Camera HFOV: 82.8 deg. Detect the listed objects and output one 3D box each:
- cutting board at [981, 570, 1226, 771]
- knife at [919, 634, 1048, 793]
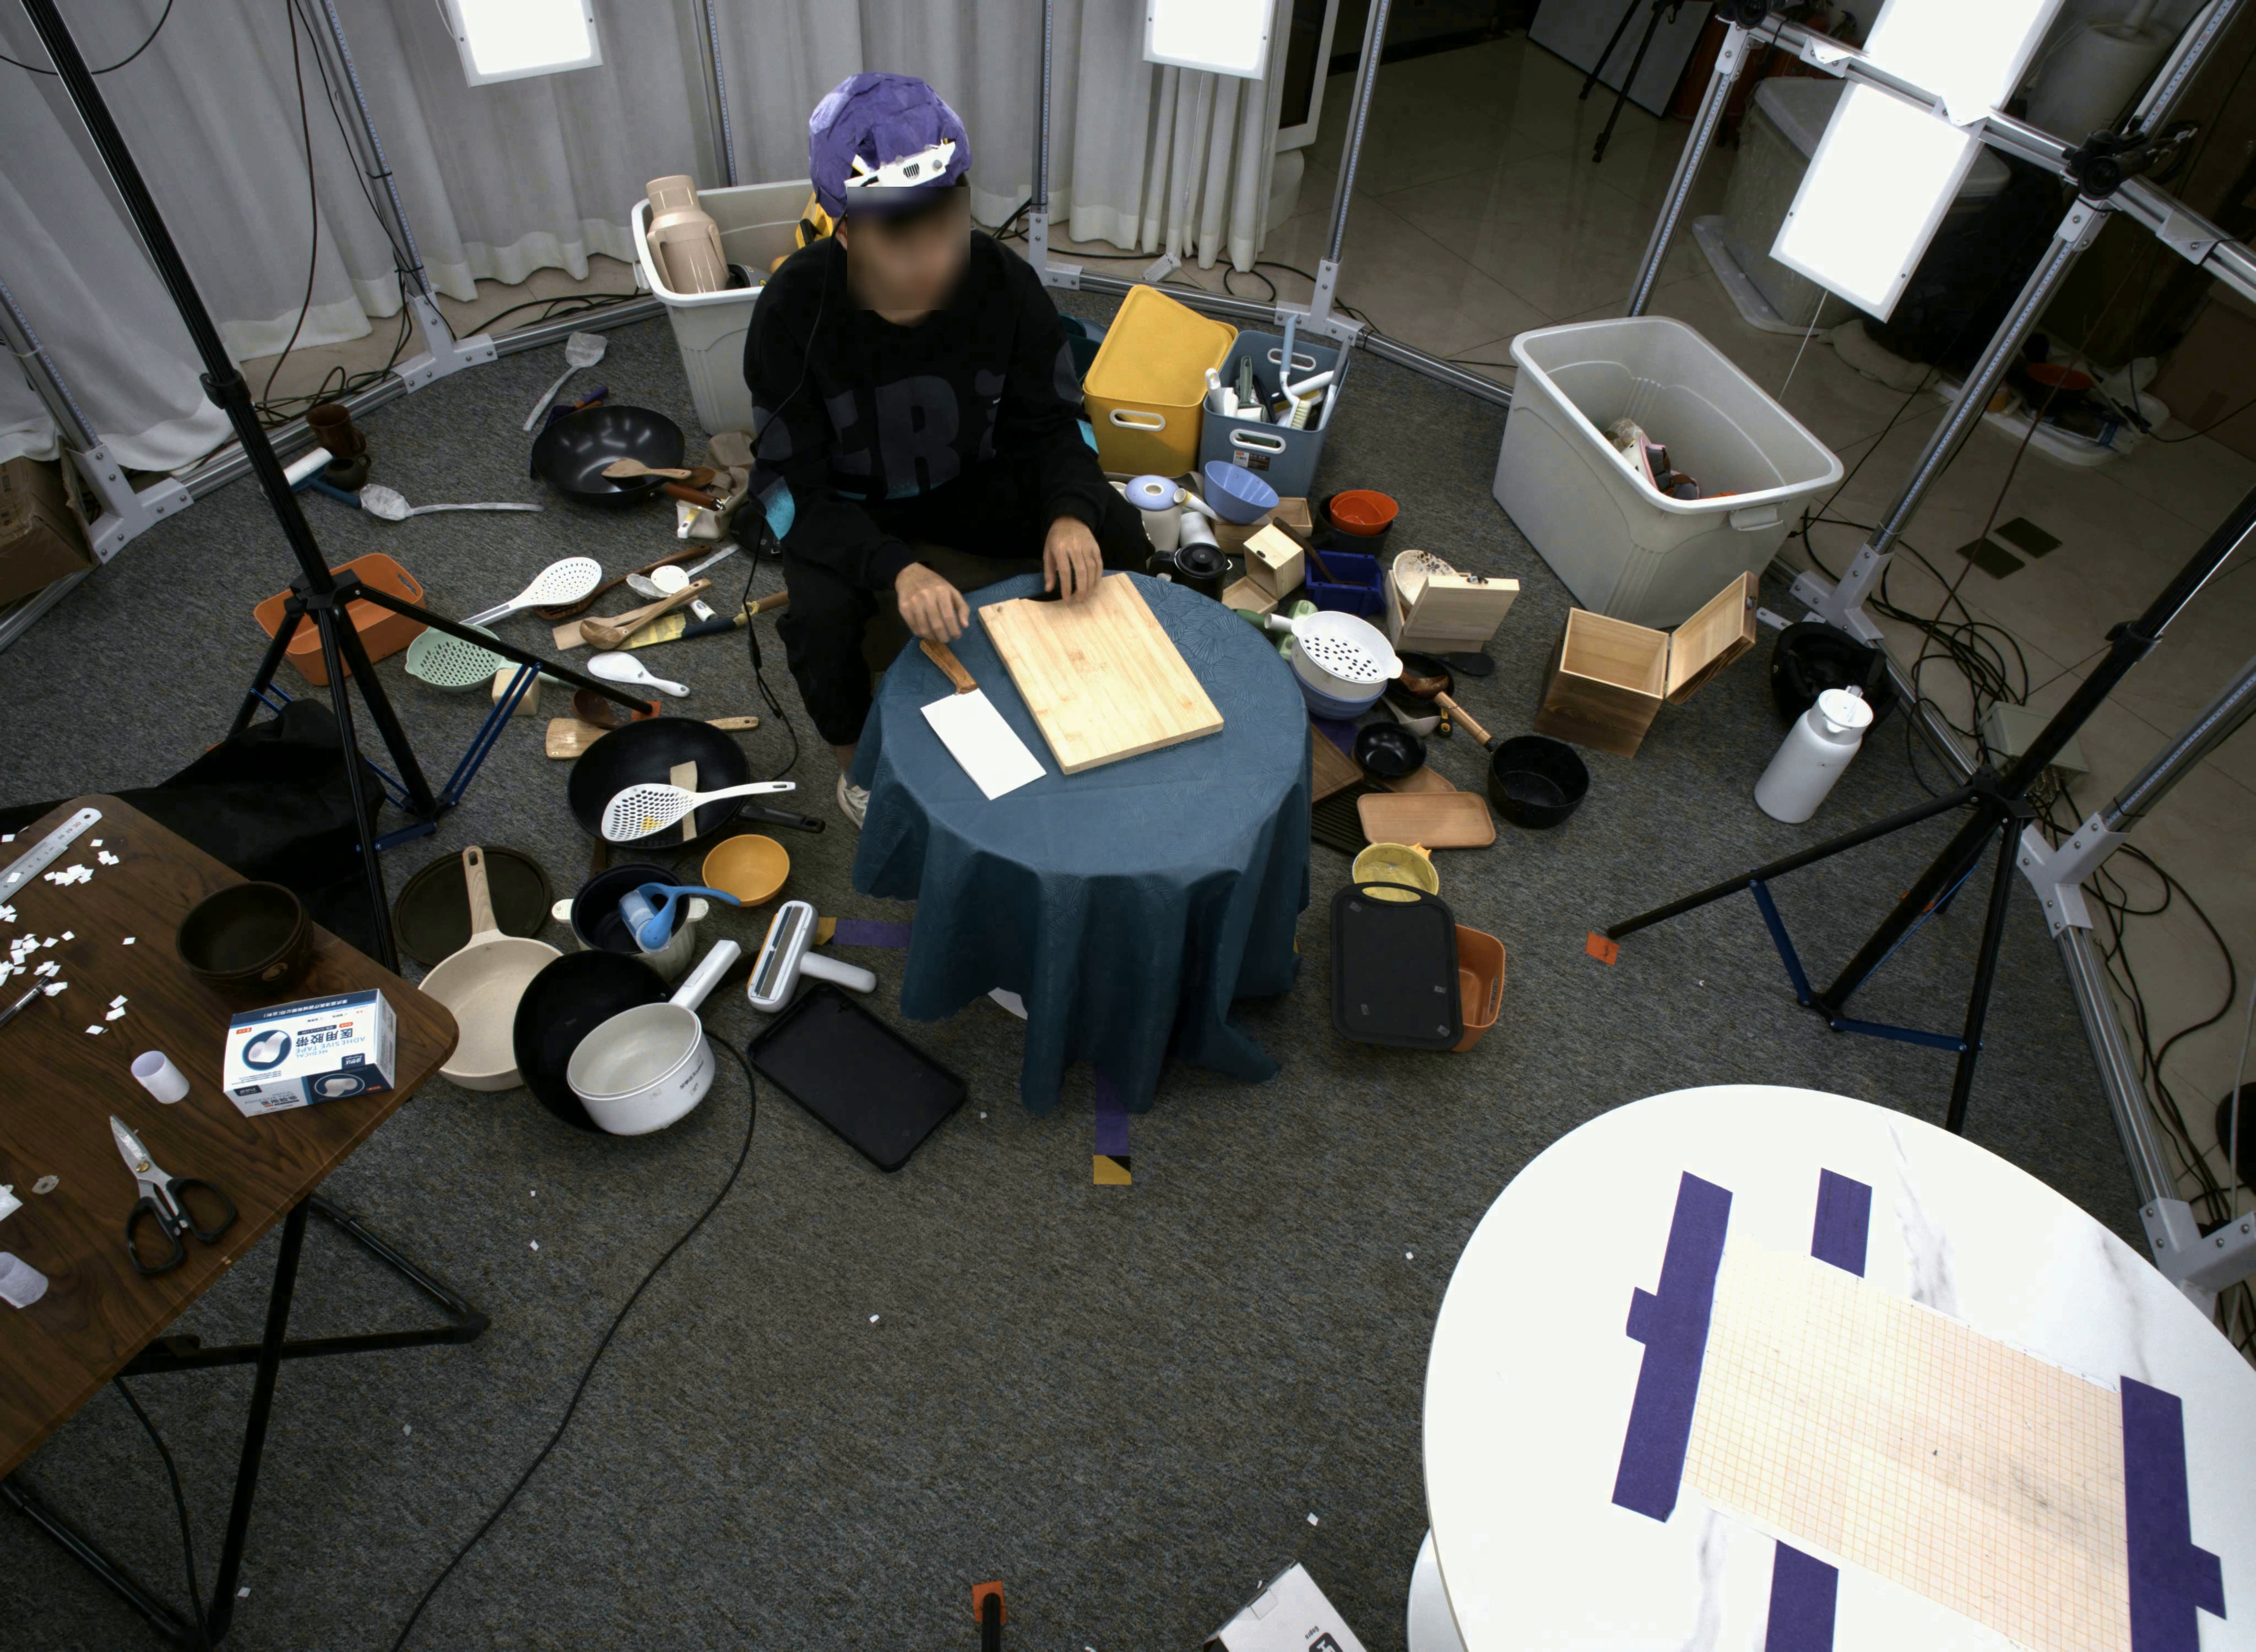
[{"bbox_3d":[-0.041,-0.233,1.857,0.251,0.023,0.356,-17,53,-18],"label":"cutting board"},{"bbox_3d":[-0.225,-0.156,1.780,0.093,0.020,0.311,-26,58,-22],"label":"knife"}]
